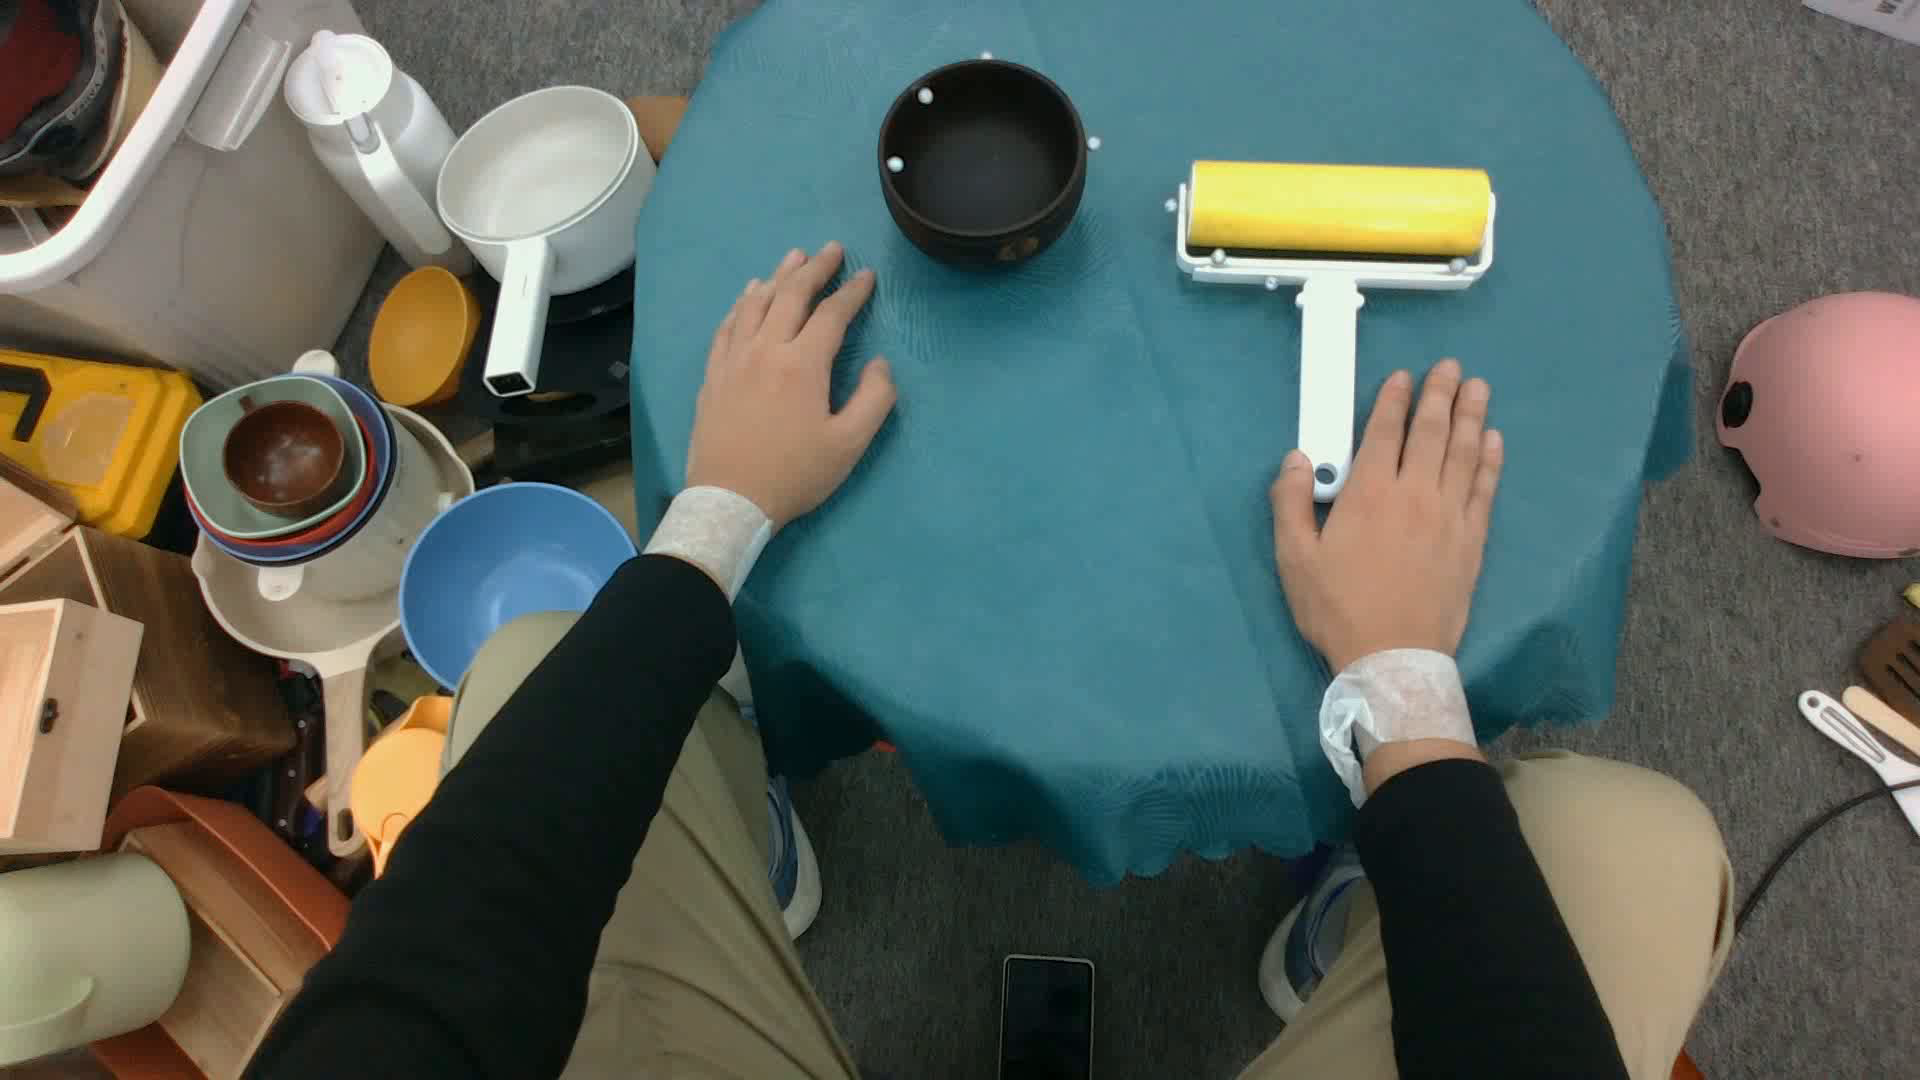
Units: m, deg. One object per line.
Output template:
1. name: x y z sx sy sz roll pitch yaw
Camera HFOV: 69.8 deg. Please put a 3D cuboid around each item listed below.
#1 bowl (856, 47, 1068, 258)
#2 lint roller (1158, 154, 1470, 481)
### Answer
1. bowl: 0.002 -0.213 0.787 0.118 0.069 0.118 -1 70 3
2. lint roller: 0.198 -0.129 0.763 0.174 0.051 0.192 1 67 4
